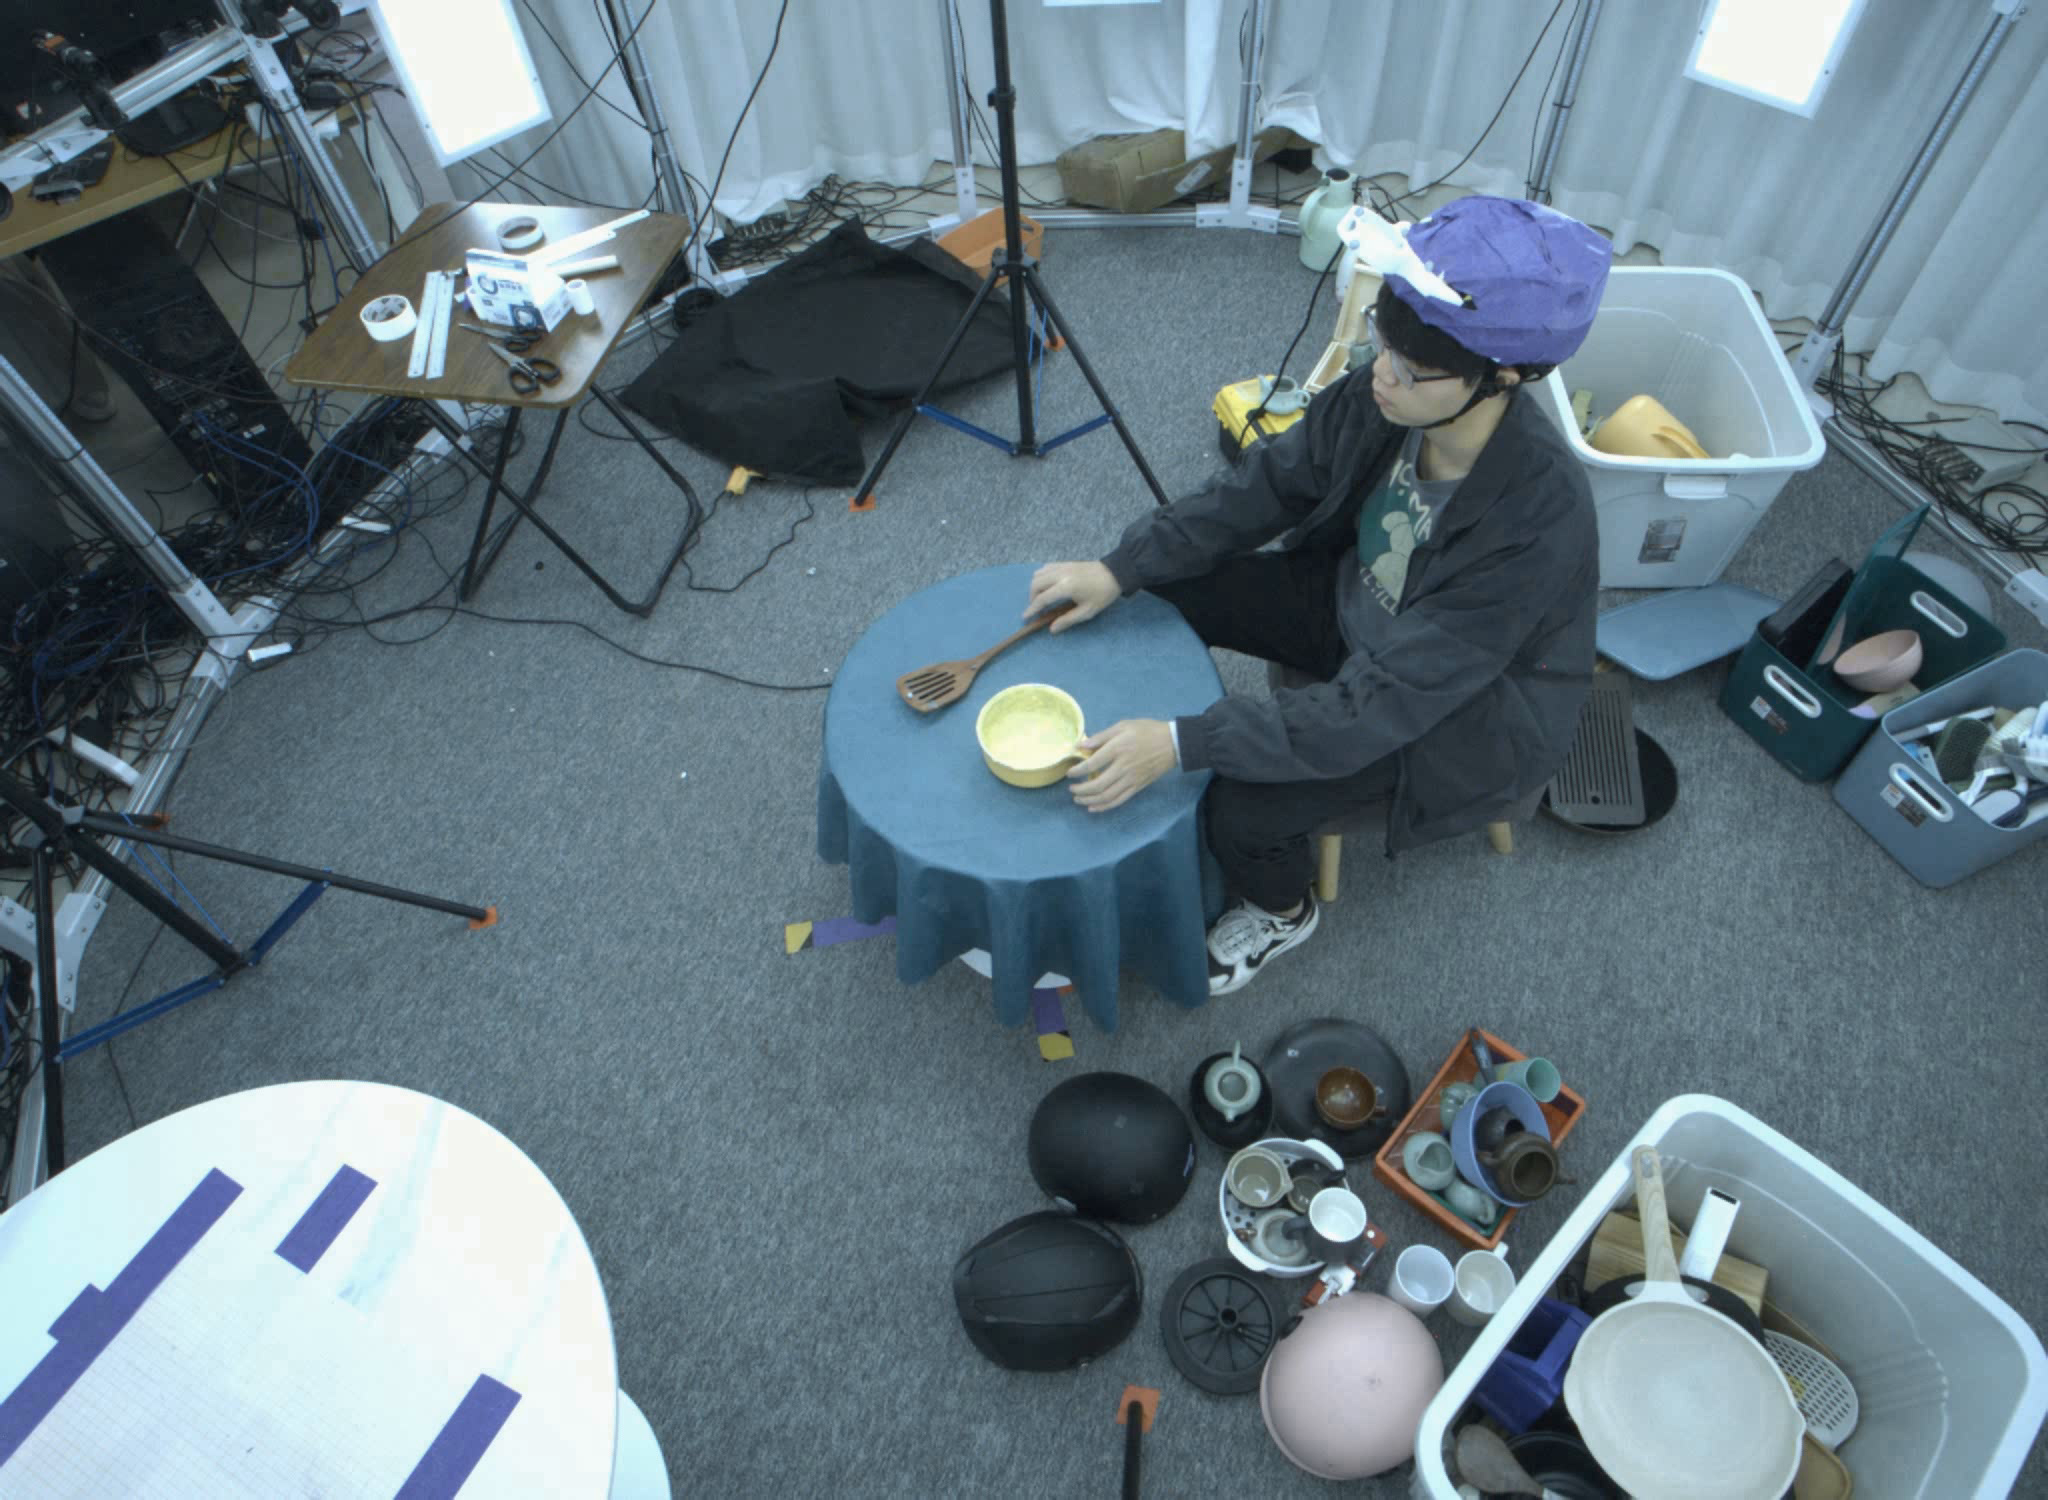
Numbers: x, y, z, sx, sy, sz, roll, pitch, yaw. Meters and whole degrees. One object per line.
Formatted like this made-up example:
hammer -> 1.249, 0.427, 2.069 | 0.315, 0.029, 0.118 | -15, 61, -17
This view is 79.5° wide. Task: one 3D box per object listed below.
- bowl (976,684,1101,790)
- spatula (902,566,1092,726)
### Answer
bowl -> 0.023, -0.008, 1.745 | 0.177, 0.075, 0.153 | 18, 58, 15
spatula -> -0.029, -0.169, 1.896 | 0.084, 0.024, 0.389 | 41, 68, 16
